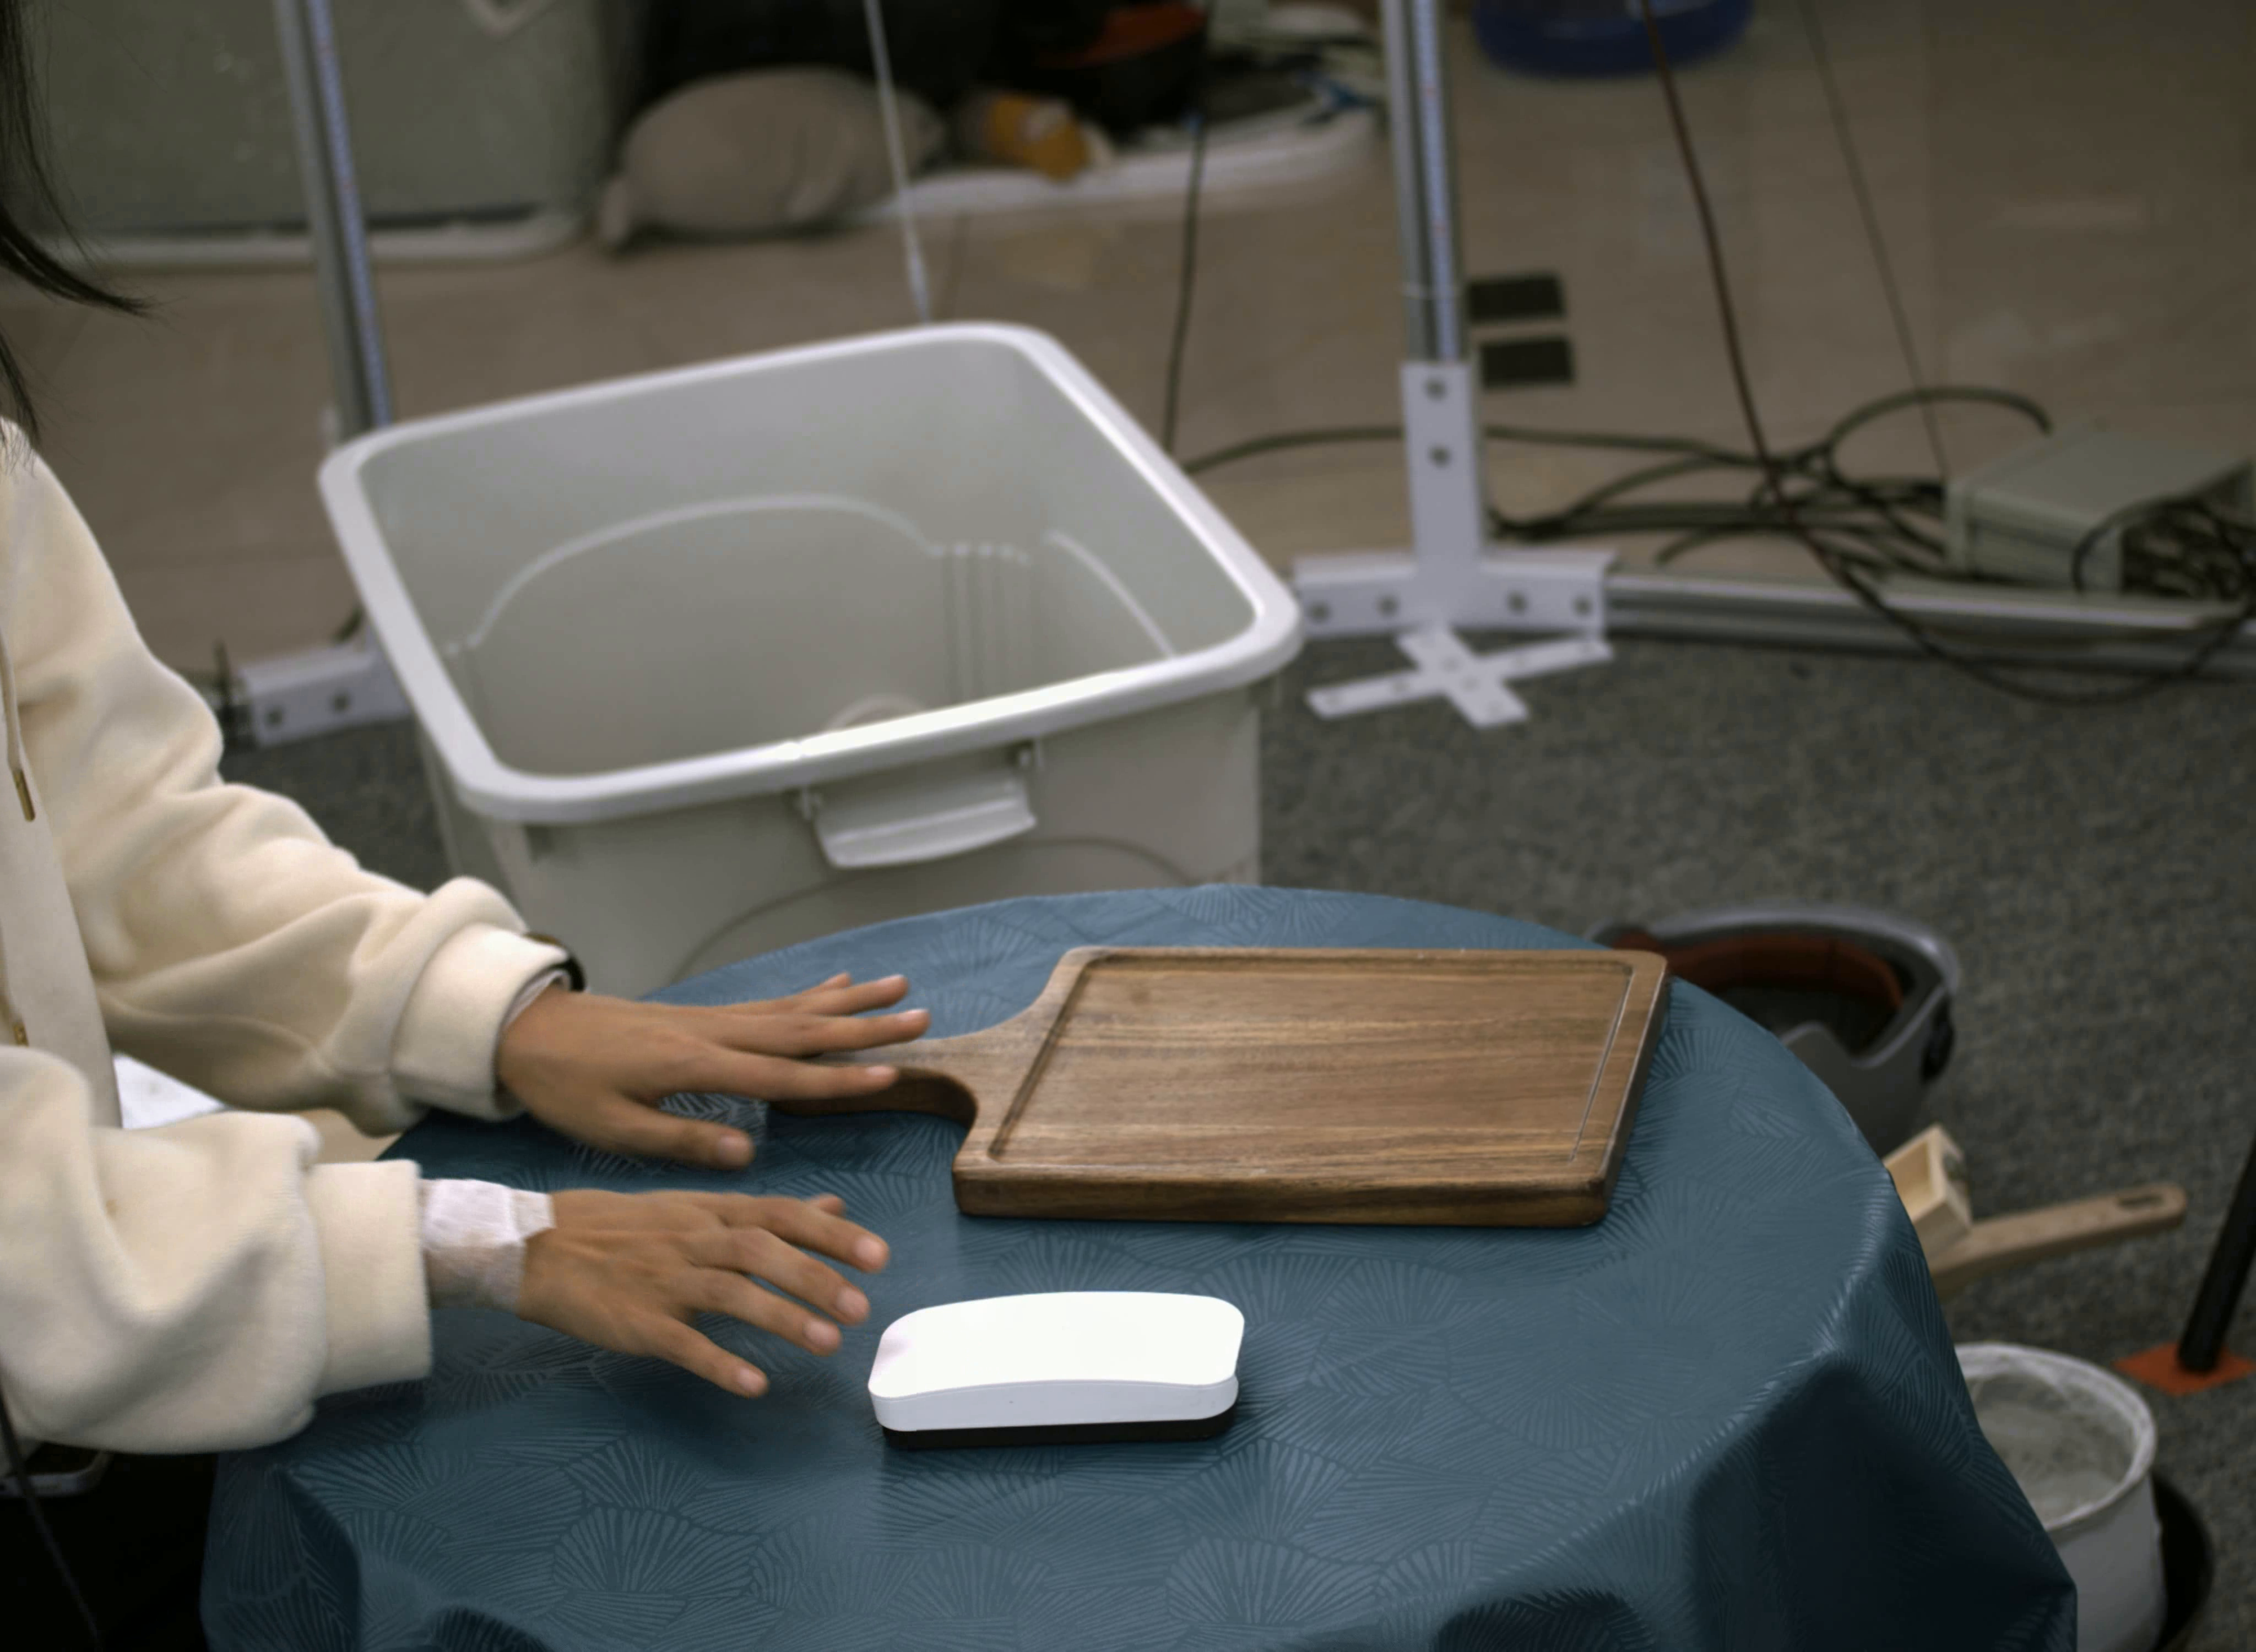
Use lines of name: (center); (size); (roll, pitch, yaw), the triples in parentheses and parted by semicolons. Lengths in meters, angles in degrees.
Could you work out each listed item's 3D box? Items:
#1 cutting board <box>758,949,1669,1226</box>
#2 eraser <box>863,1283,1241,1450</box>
cutting board: (0.026, 0.098, 2.204); (0.351, 0.023, 0.198); (0, 25, 14)
eraser: (-0.026, 0.192, 2.005); (0.131, 0.035, 0.062); (-2, 26, 9)
